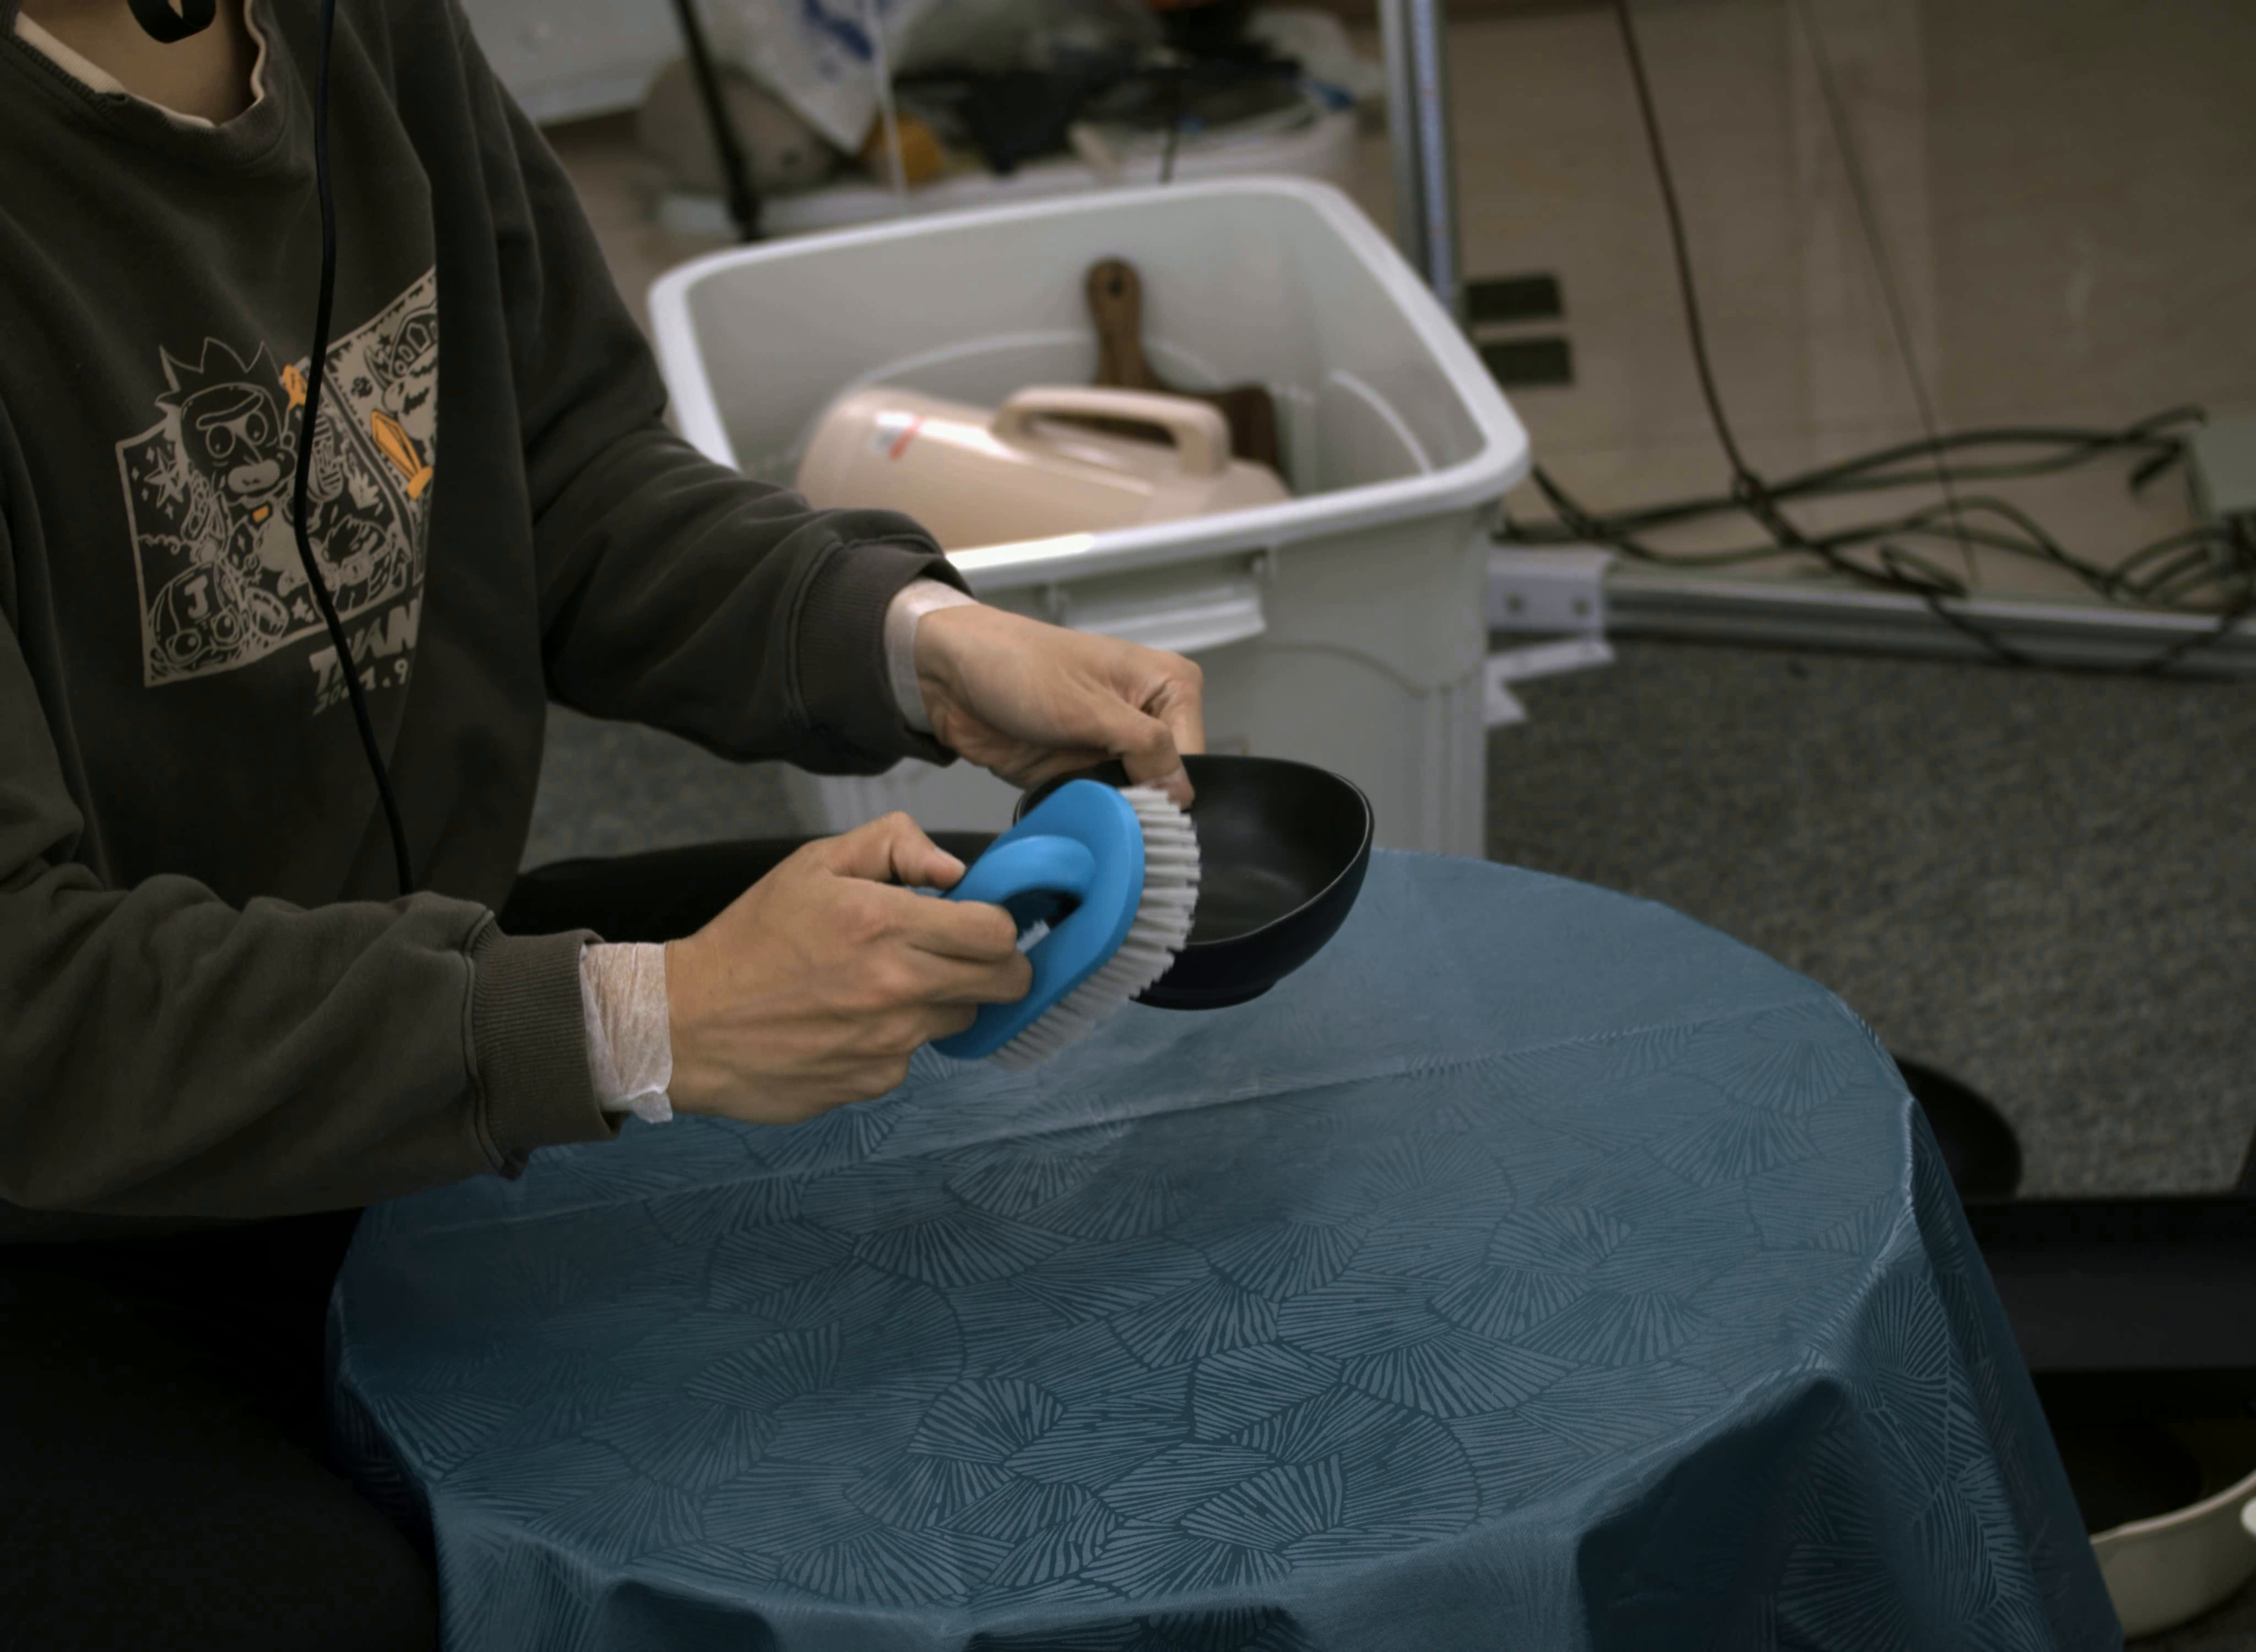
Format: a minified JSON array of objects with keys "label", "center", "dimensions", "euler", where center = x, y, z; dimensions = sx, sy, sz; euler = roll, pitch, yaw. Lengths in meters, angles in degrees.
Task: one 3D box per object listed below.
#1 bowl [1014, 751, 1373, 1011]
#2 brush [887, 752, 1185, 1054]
[{"label":"bowl","center":[0.025,0.027,2.154],"dimensions":[0.137,0.068,0.168],"euler":[-2,24,-2]},{"label":"brush","center":[-0.044,0.029,2.065],"dimensions":[0.064,0.083,0.143],"euler":[5,-29,-39]}]
